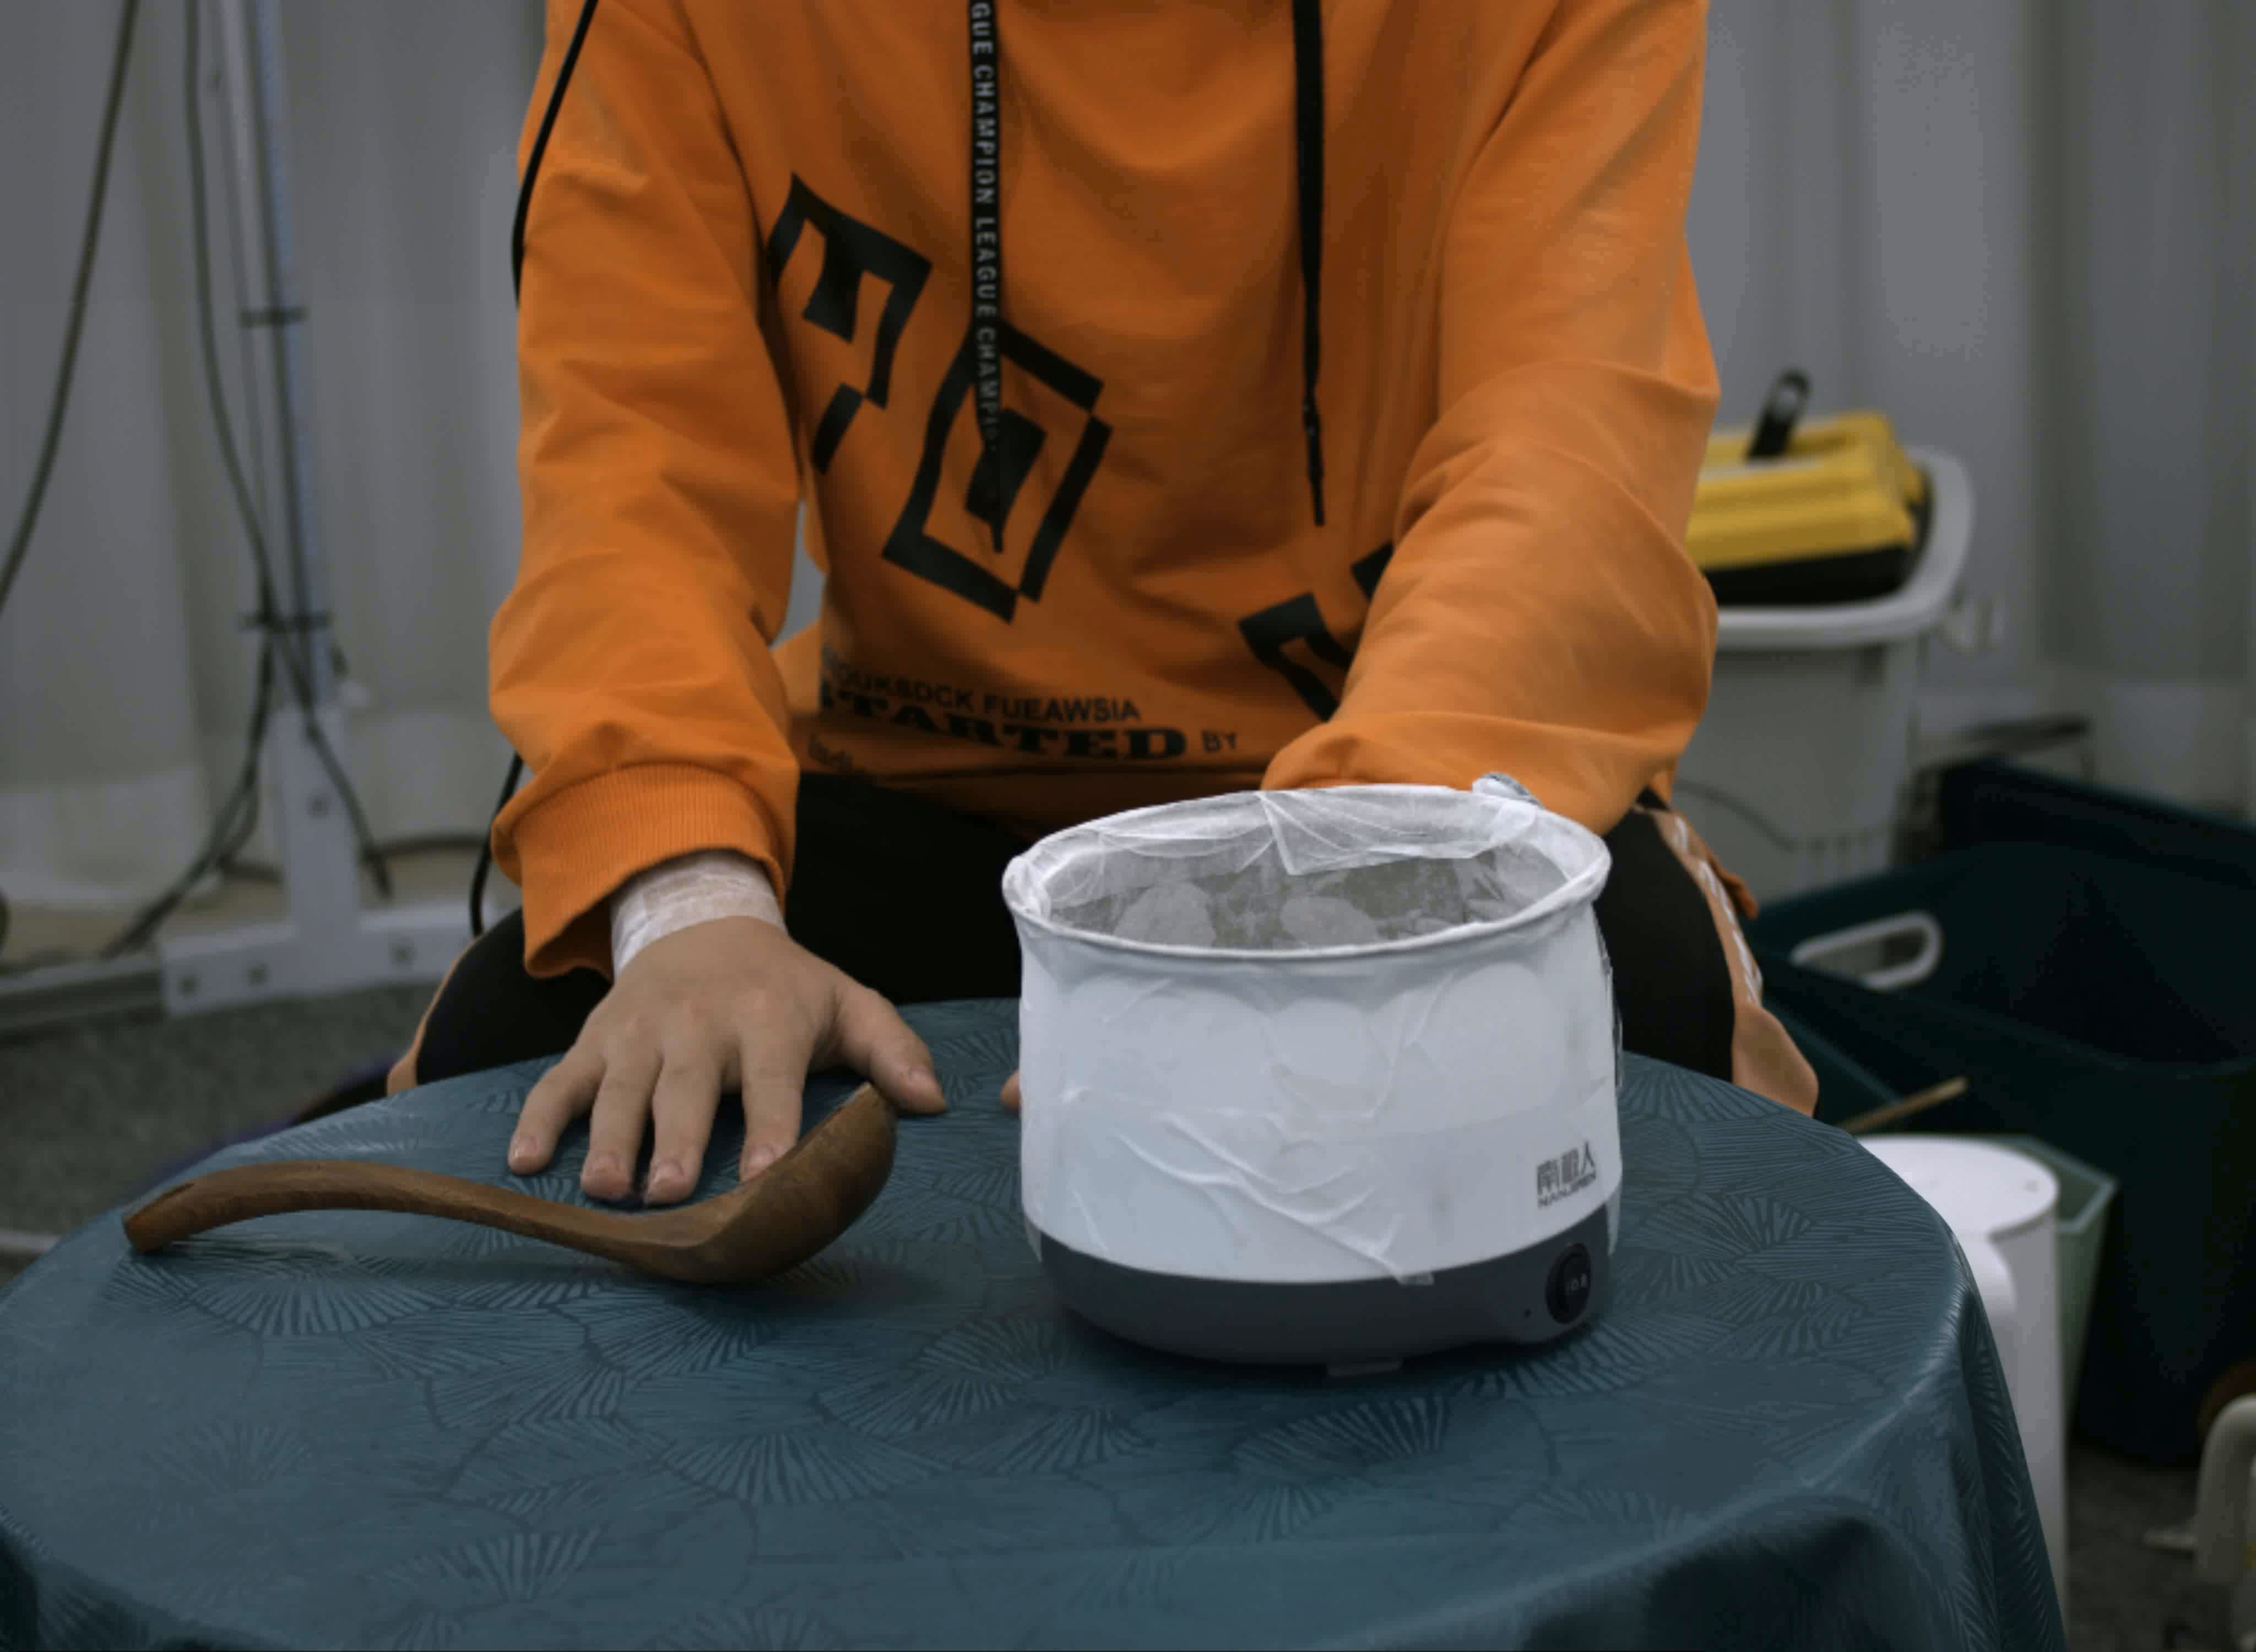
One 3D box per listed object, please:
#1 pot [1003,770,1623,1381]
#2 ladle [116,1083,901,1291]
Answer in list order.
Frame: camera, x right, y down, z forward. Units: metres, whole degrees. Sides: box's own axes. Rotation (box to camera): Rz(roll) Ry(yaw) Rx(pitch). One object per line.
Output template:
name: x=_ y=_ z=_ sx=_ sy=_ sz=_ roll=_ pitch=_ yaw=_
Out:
pot: x=0.071 y=0.066 z=1.619 sx=0.179 sy=0.136 sz=0.234 roll=8 pitch=19 yaw=35
ladle: x=-0.192 y=0.105 z=1.667 sx=0.260 sy=0.065 sz=0.077 roll=2 pitch=13 yaw=19
